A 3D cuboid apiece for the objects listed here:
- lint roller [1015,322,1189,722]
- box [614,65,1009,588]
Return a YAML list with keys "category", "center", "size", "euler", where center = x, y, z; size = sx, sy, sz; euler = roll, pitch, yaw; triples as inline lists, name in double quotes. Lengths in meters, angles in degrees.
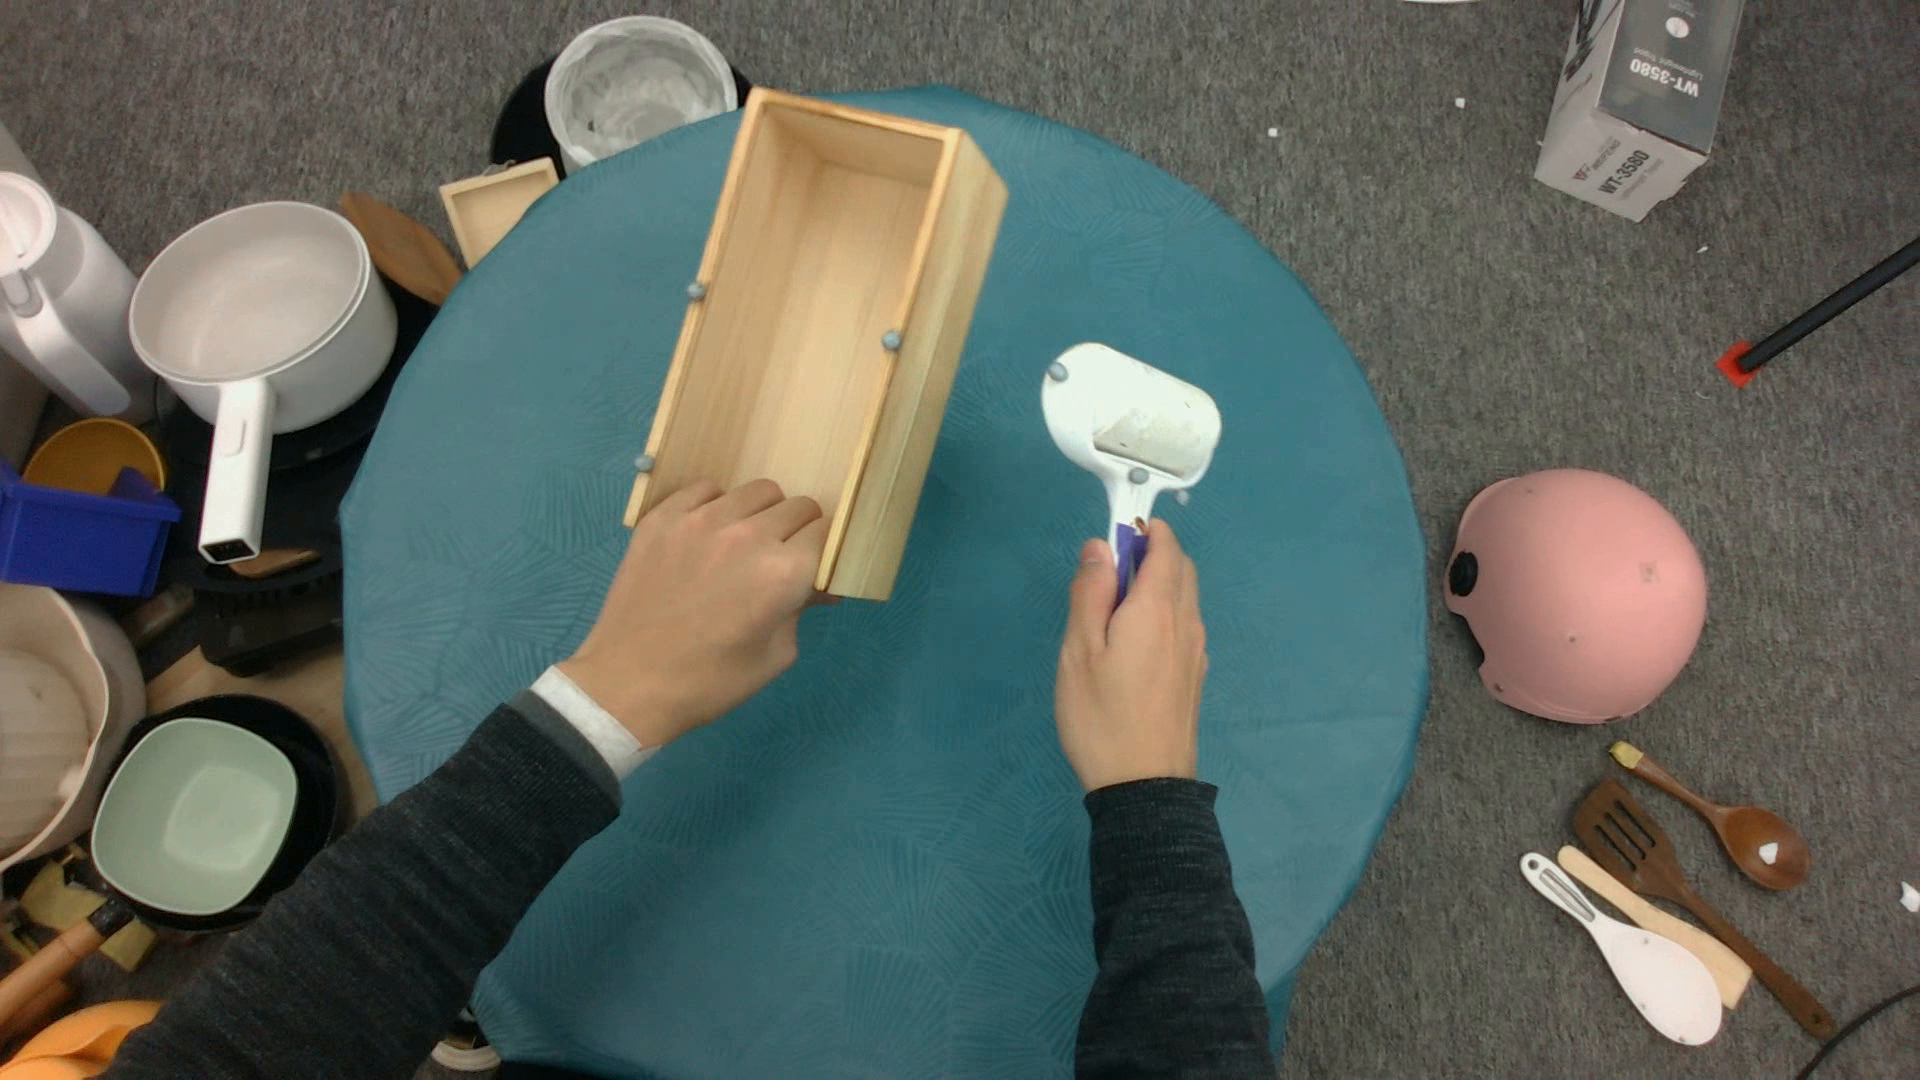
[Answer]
- category: "lint roller"
  center: [0.074, -0.007, 0.646]
  size: [0.050, 0.133, 0.181]
  euler: [-11, 78, 29]
- category: "box"
  center: [-0.066, -0.094, 0.636]
  size: [0.107, 0.080, 0.211]
  euler: [17, 91, 17]
